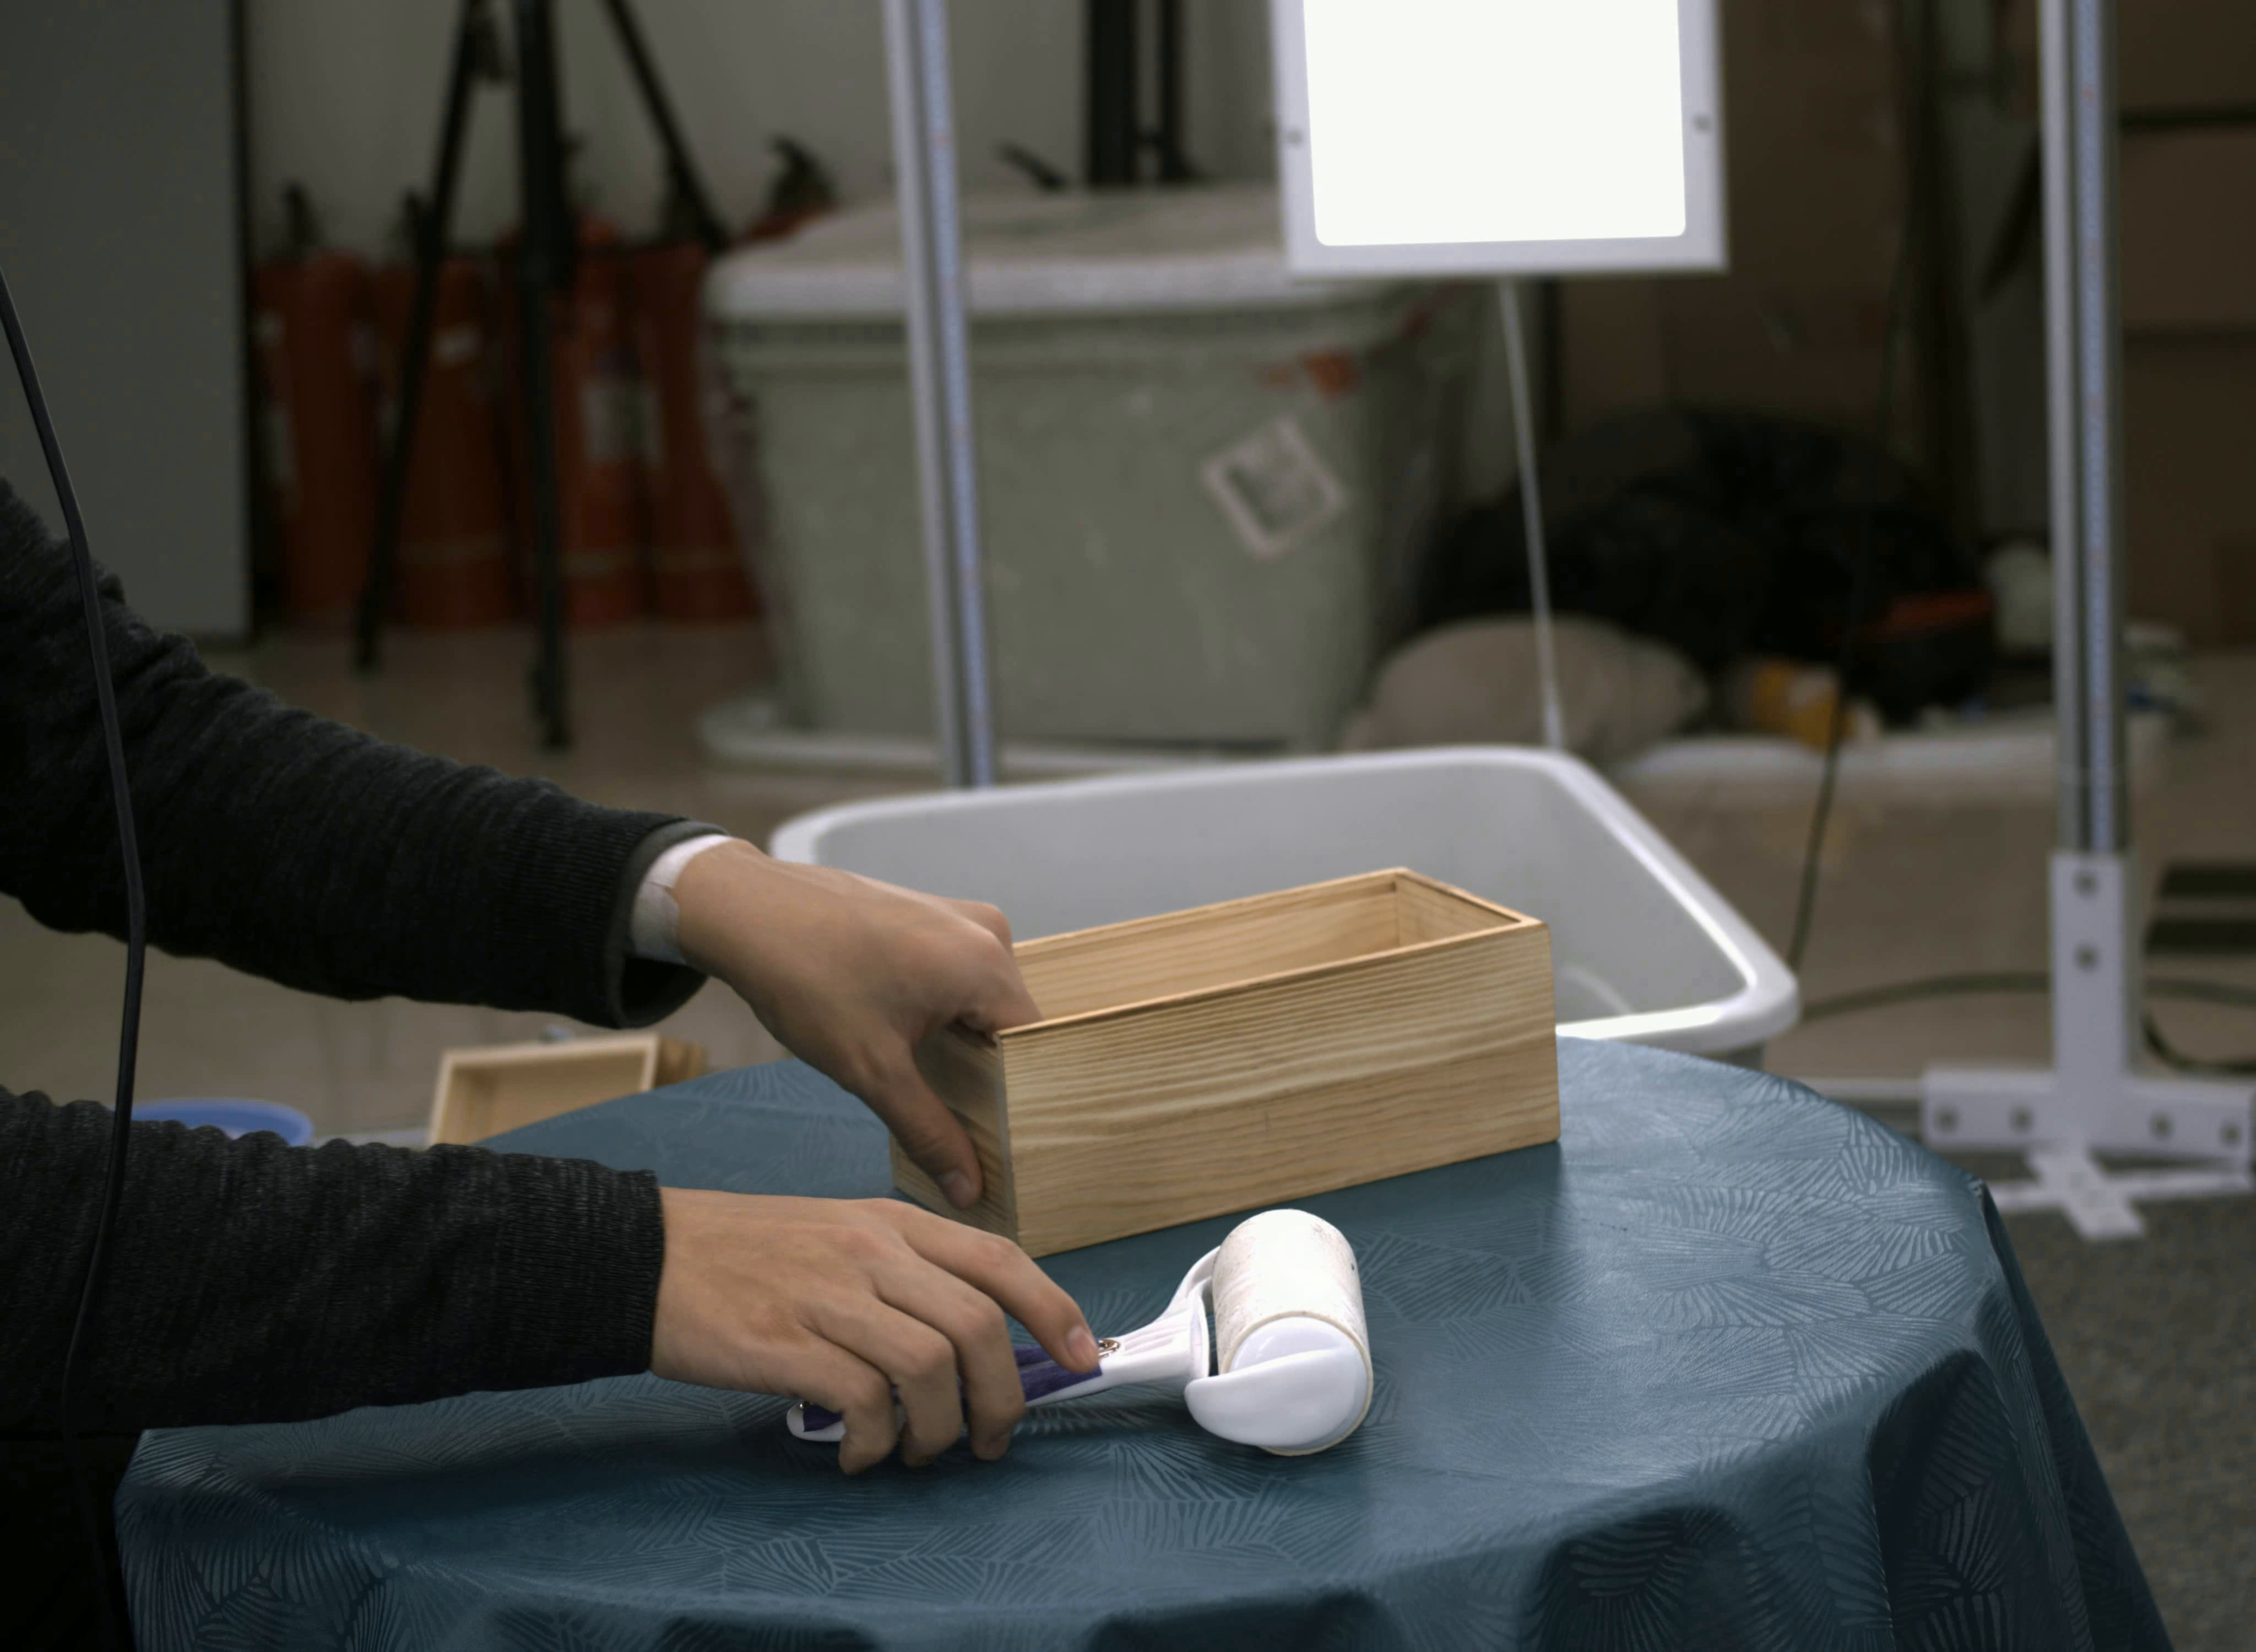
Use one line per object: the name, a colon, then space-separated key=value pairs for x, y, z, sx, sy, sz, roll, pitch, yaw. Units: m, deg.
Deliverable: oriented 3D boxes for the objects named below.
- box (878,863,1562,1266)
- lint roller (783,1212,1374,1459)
box: x=0.032 y=0.080 z=1.910 sx=0.207 sy=0.080 sz=0.109 roll=-12 pitch=15 yaw=-23
lint roller: x=-0.016 y=0.157 z=1.680 sx=0.181 sy=0.050 sz=0.132 roll=-2 pitch=15 yaw=4
